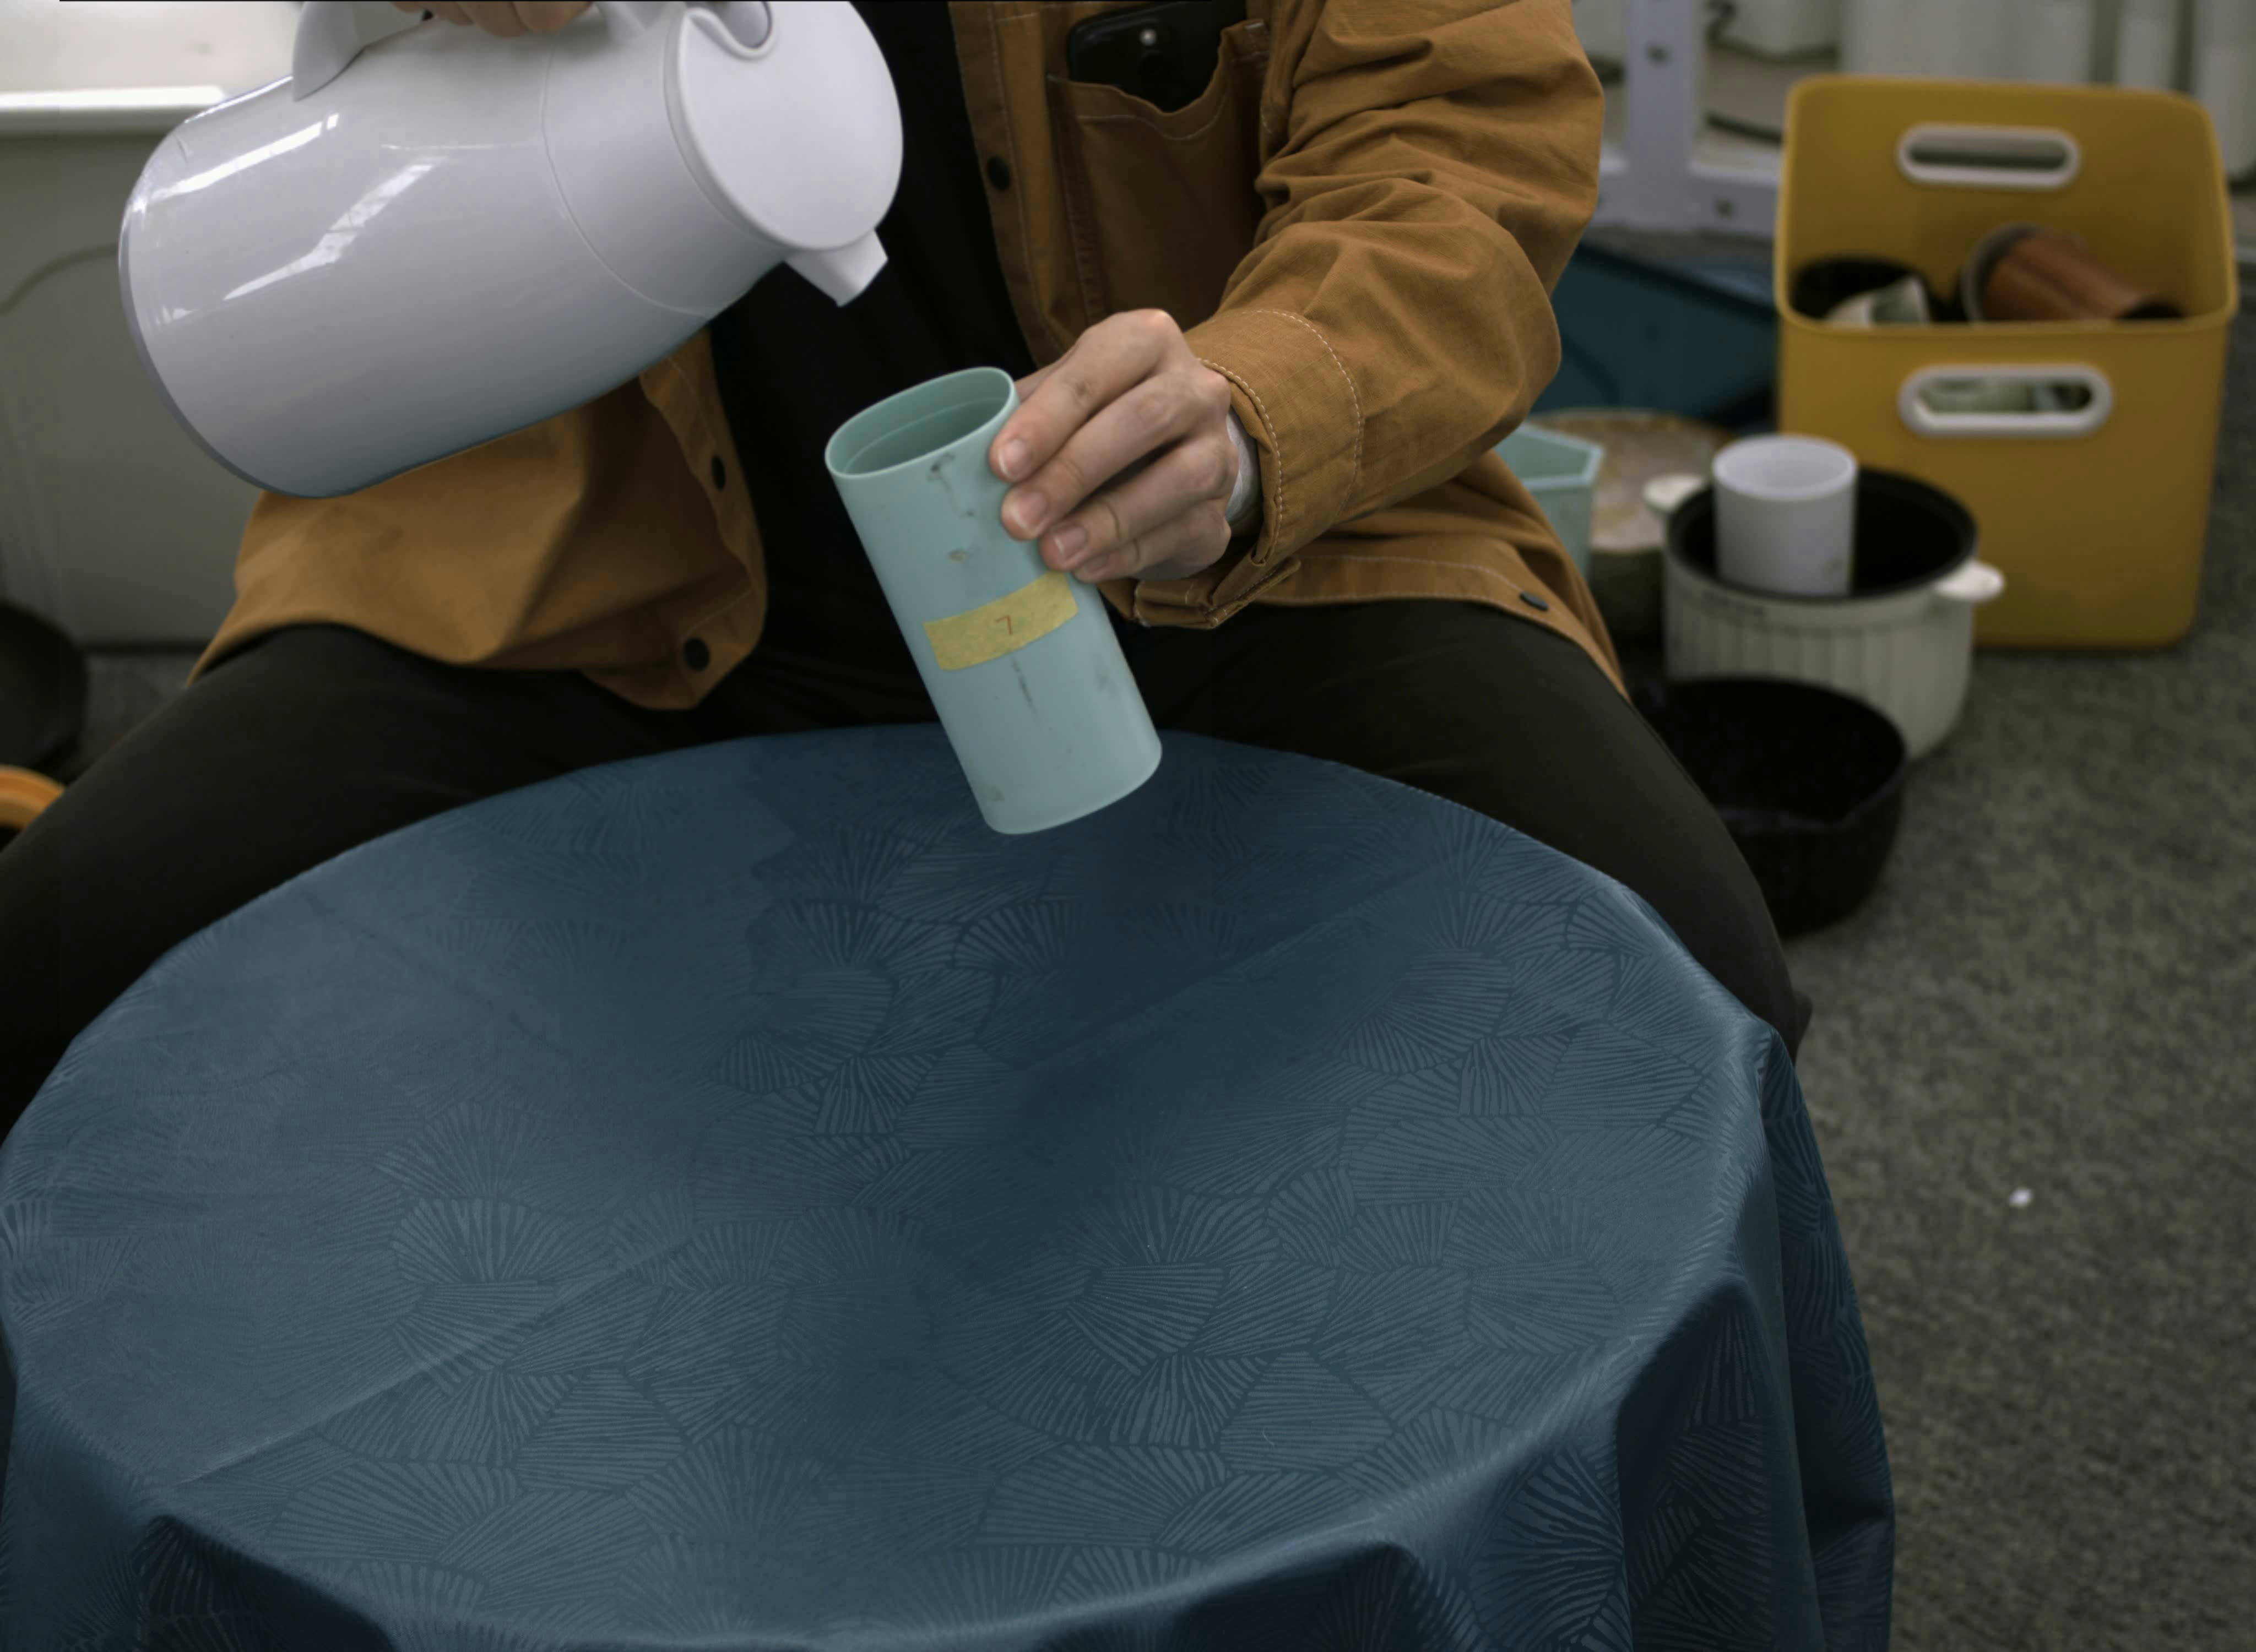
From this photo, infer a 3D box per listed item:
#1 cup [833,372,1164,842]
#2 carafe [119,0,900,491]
[{"bbox_3d":[-0.039,-0.068,1.745,0.066,0.131,0.068,-18,24,9],"label":"cup"},{"bbox_3d":[-0.195,-0.208,1.738,0.245,0.166,0.135,-15,30,41],"label":"carafe"}]
